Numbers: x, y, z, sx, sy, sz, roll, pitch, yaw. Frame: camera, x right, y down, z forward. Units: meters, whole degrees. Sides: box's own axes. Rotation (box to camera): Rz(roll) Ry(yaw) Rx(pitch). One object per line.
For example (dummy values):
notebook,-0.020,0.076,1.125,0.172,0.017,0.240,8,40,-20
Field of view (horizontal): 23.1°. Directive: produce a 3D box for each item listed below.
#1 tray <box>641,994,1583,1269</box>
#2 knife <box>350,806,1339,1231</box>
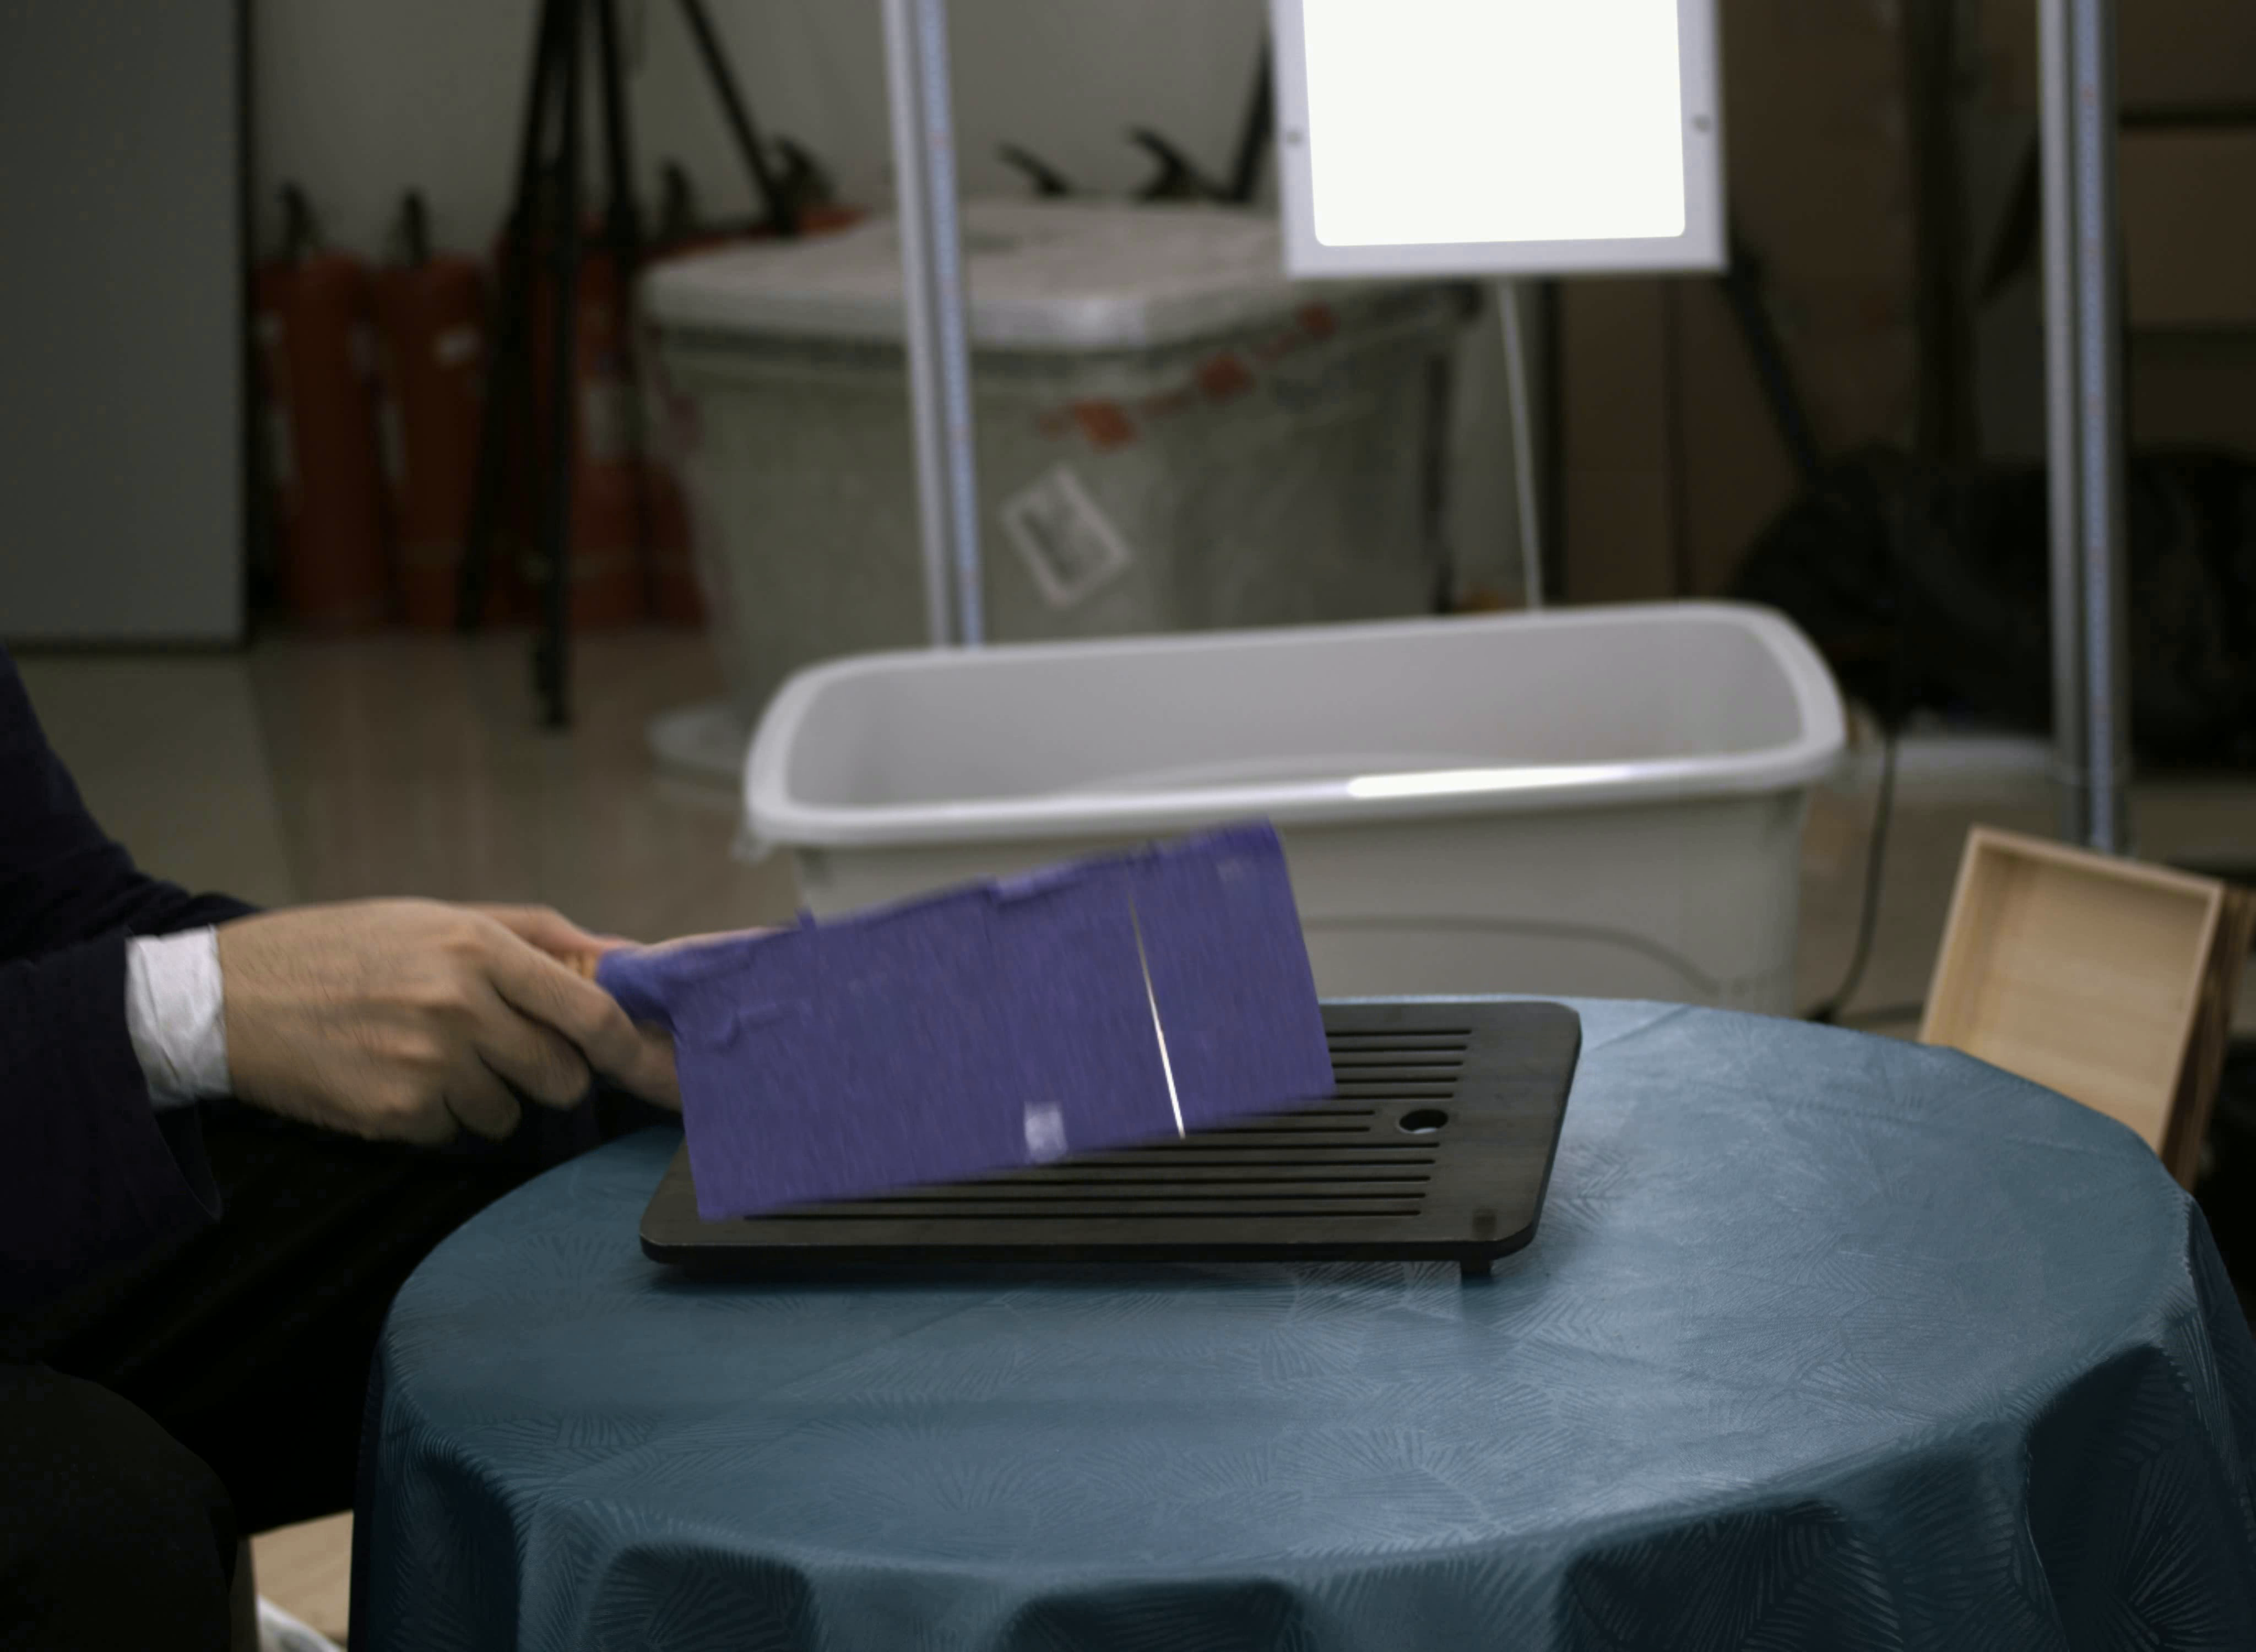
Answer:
tray,-0.002,0.106,1.886,0.309,0.018,0.168,-2,25,15
knife,-0.092,0.075,1.739,0.318,0.104,0.032,-13,-14,13
